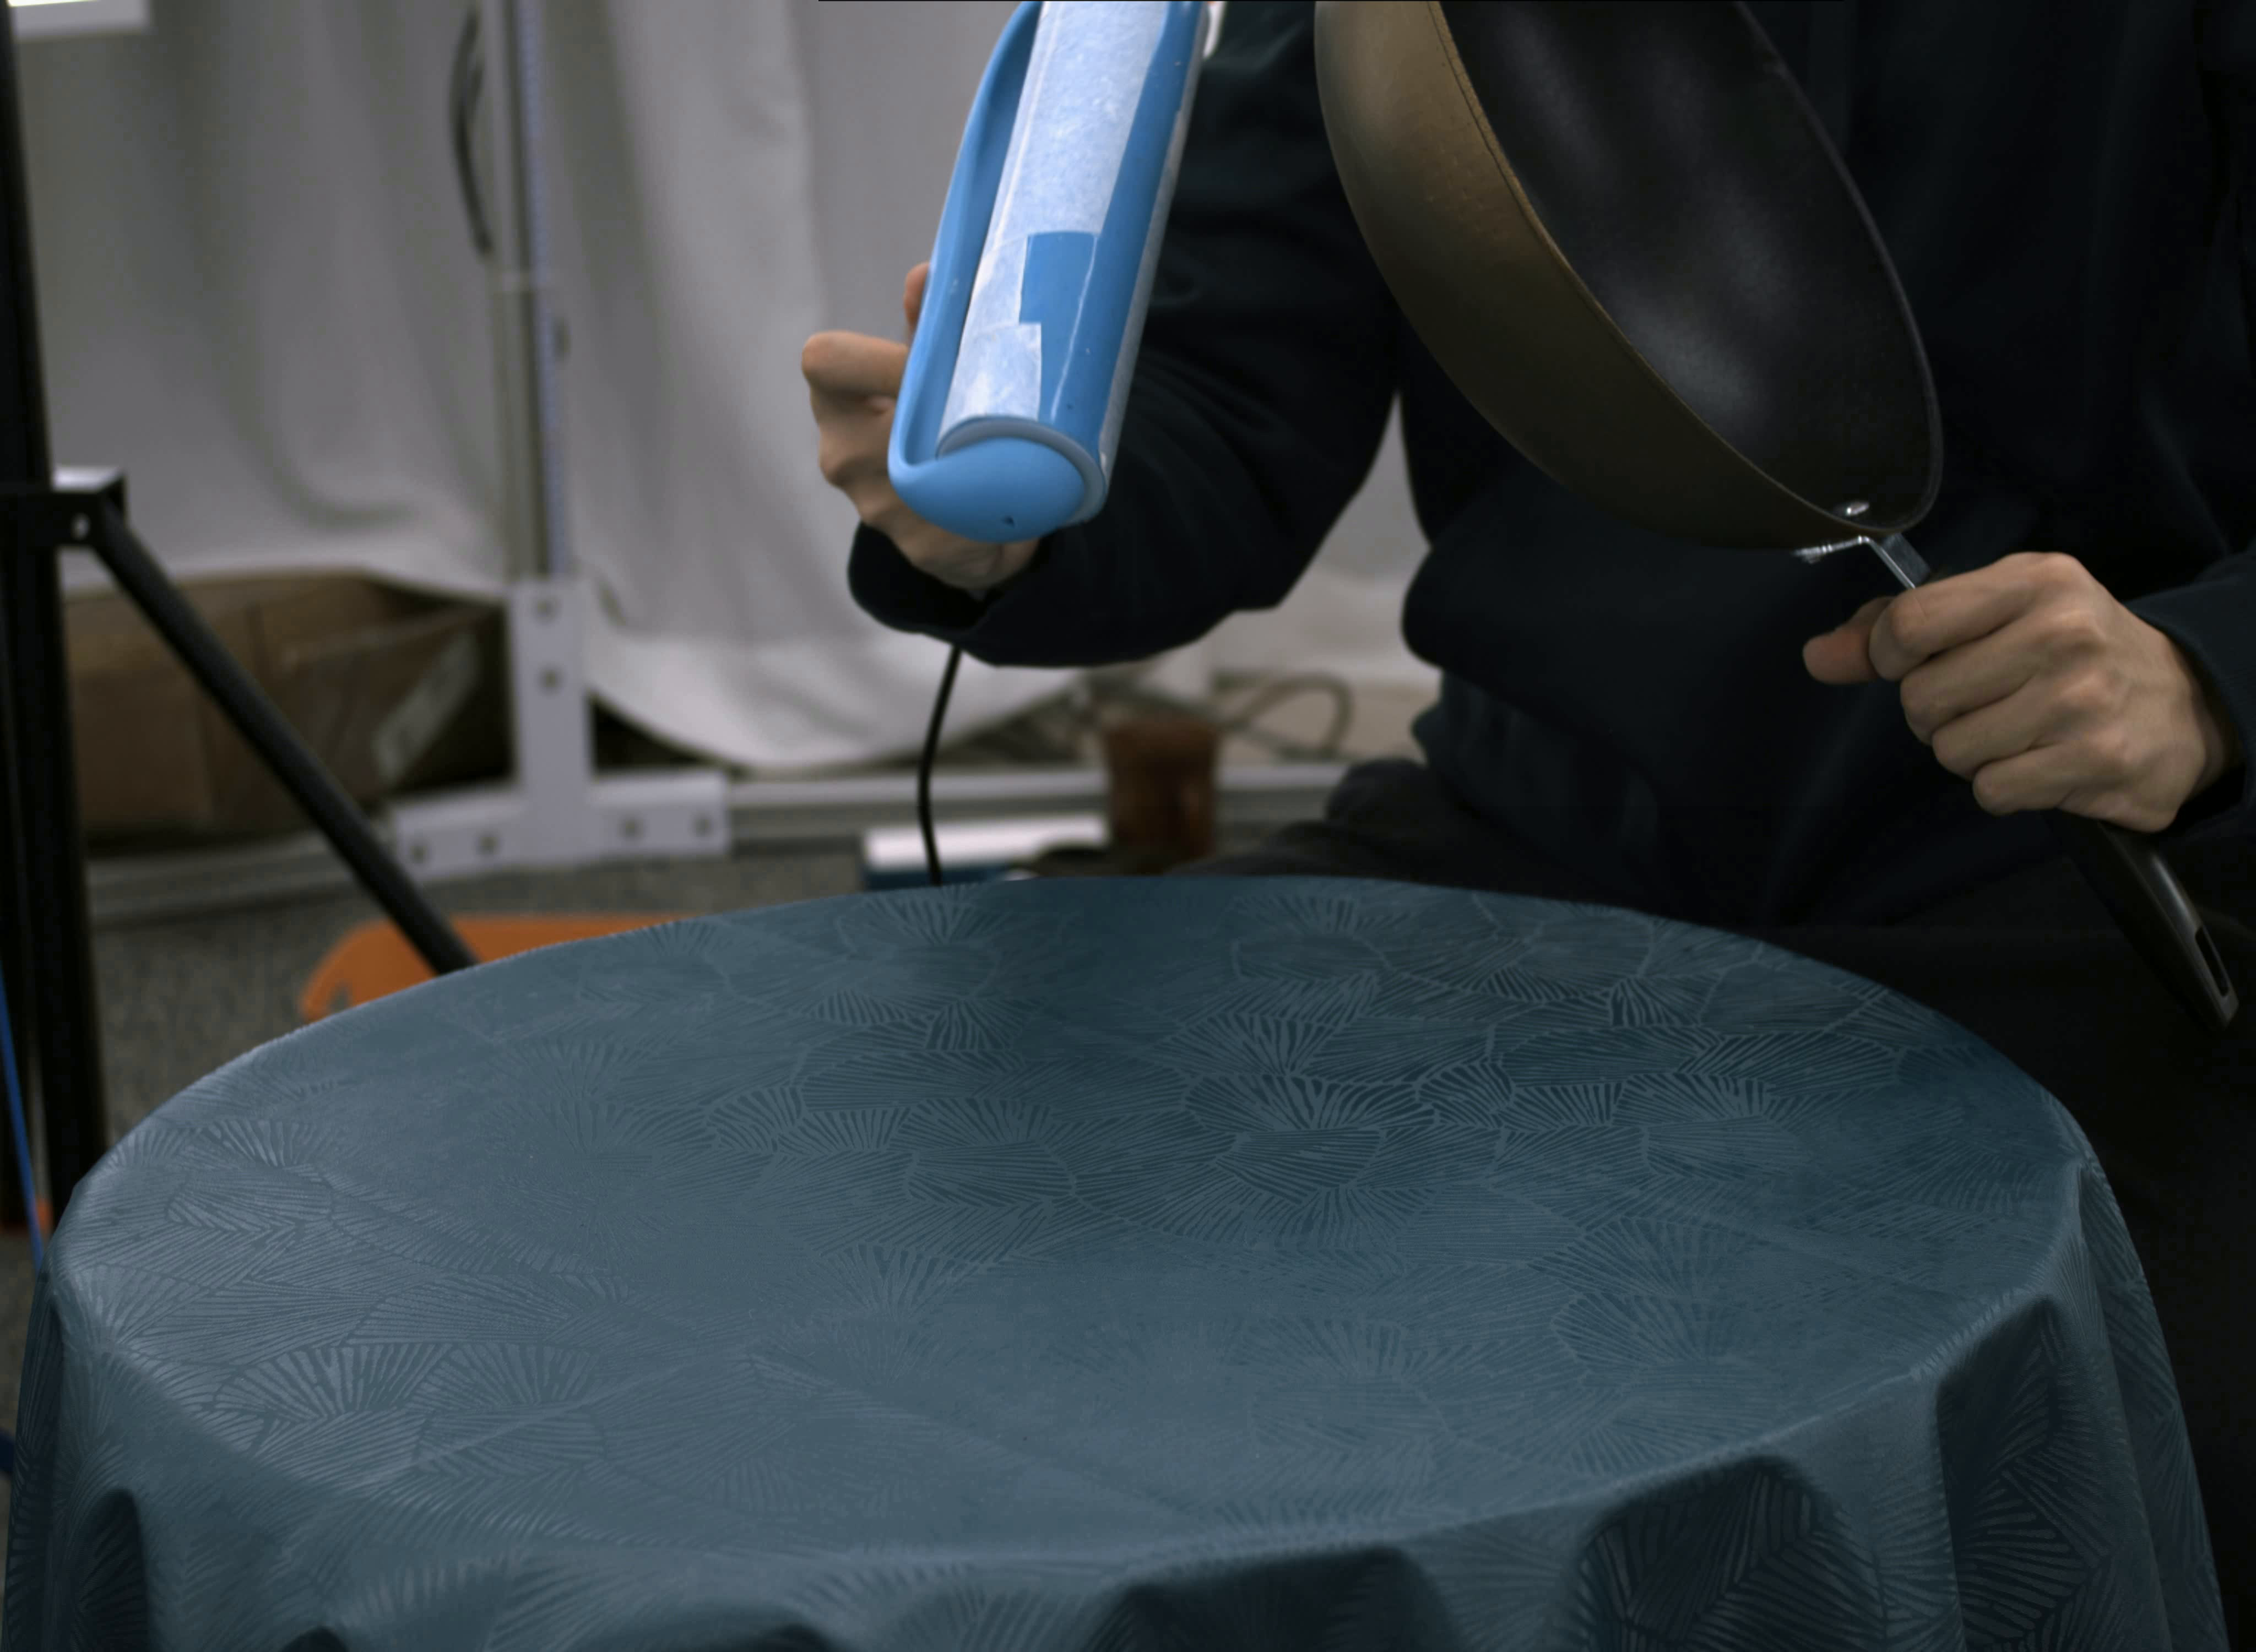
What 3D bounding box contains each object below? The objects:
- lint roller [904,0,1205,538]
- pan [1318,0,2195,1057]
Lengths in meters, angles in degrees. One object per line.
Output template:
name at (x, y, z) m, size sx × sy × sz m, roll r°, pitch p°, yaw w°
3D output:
lint roller at (-0.036, -0.153, 1.694) m, size 0.067 × 0.181 × 0.230 m, roll 17°, pitch 52°, yaw -12°
pan at (0.189, -0.116, 1.658) m, size 0.088 × 0.464 × 0.284 m, roll -31°, pitch 2°, yaw 26°
